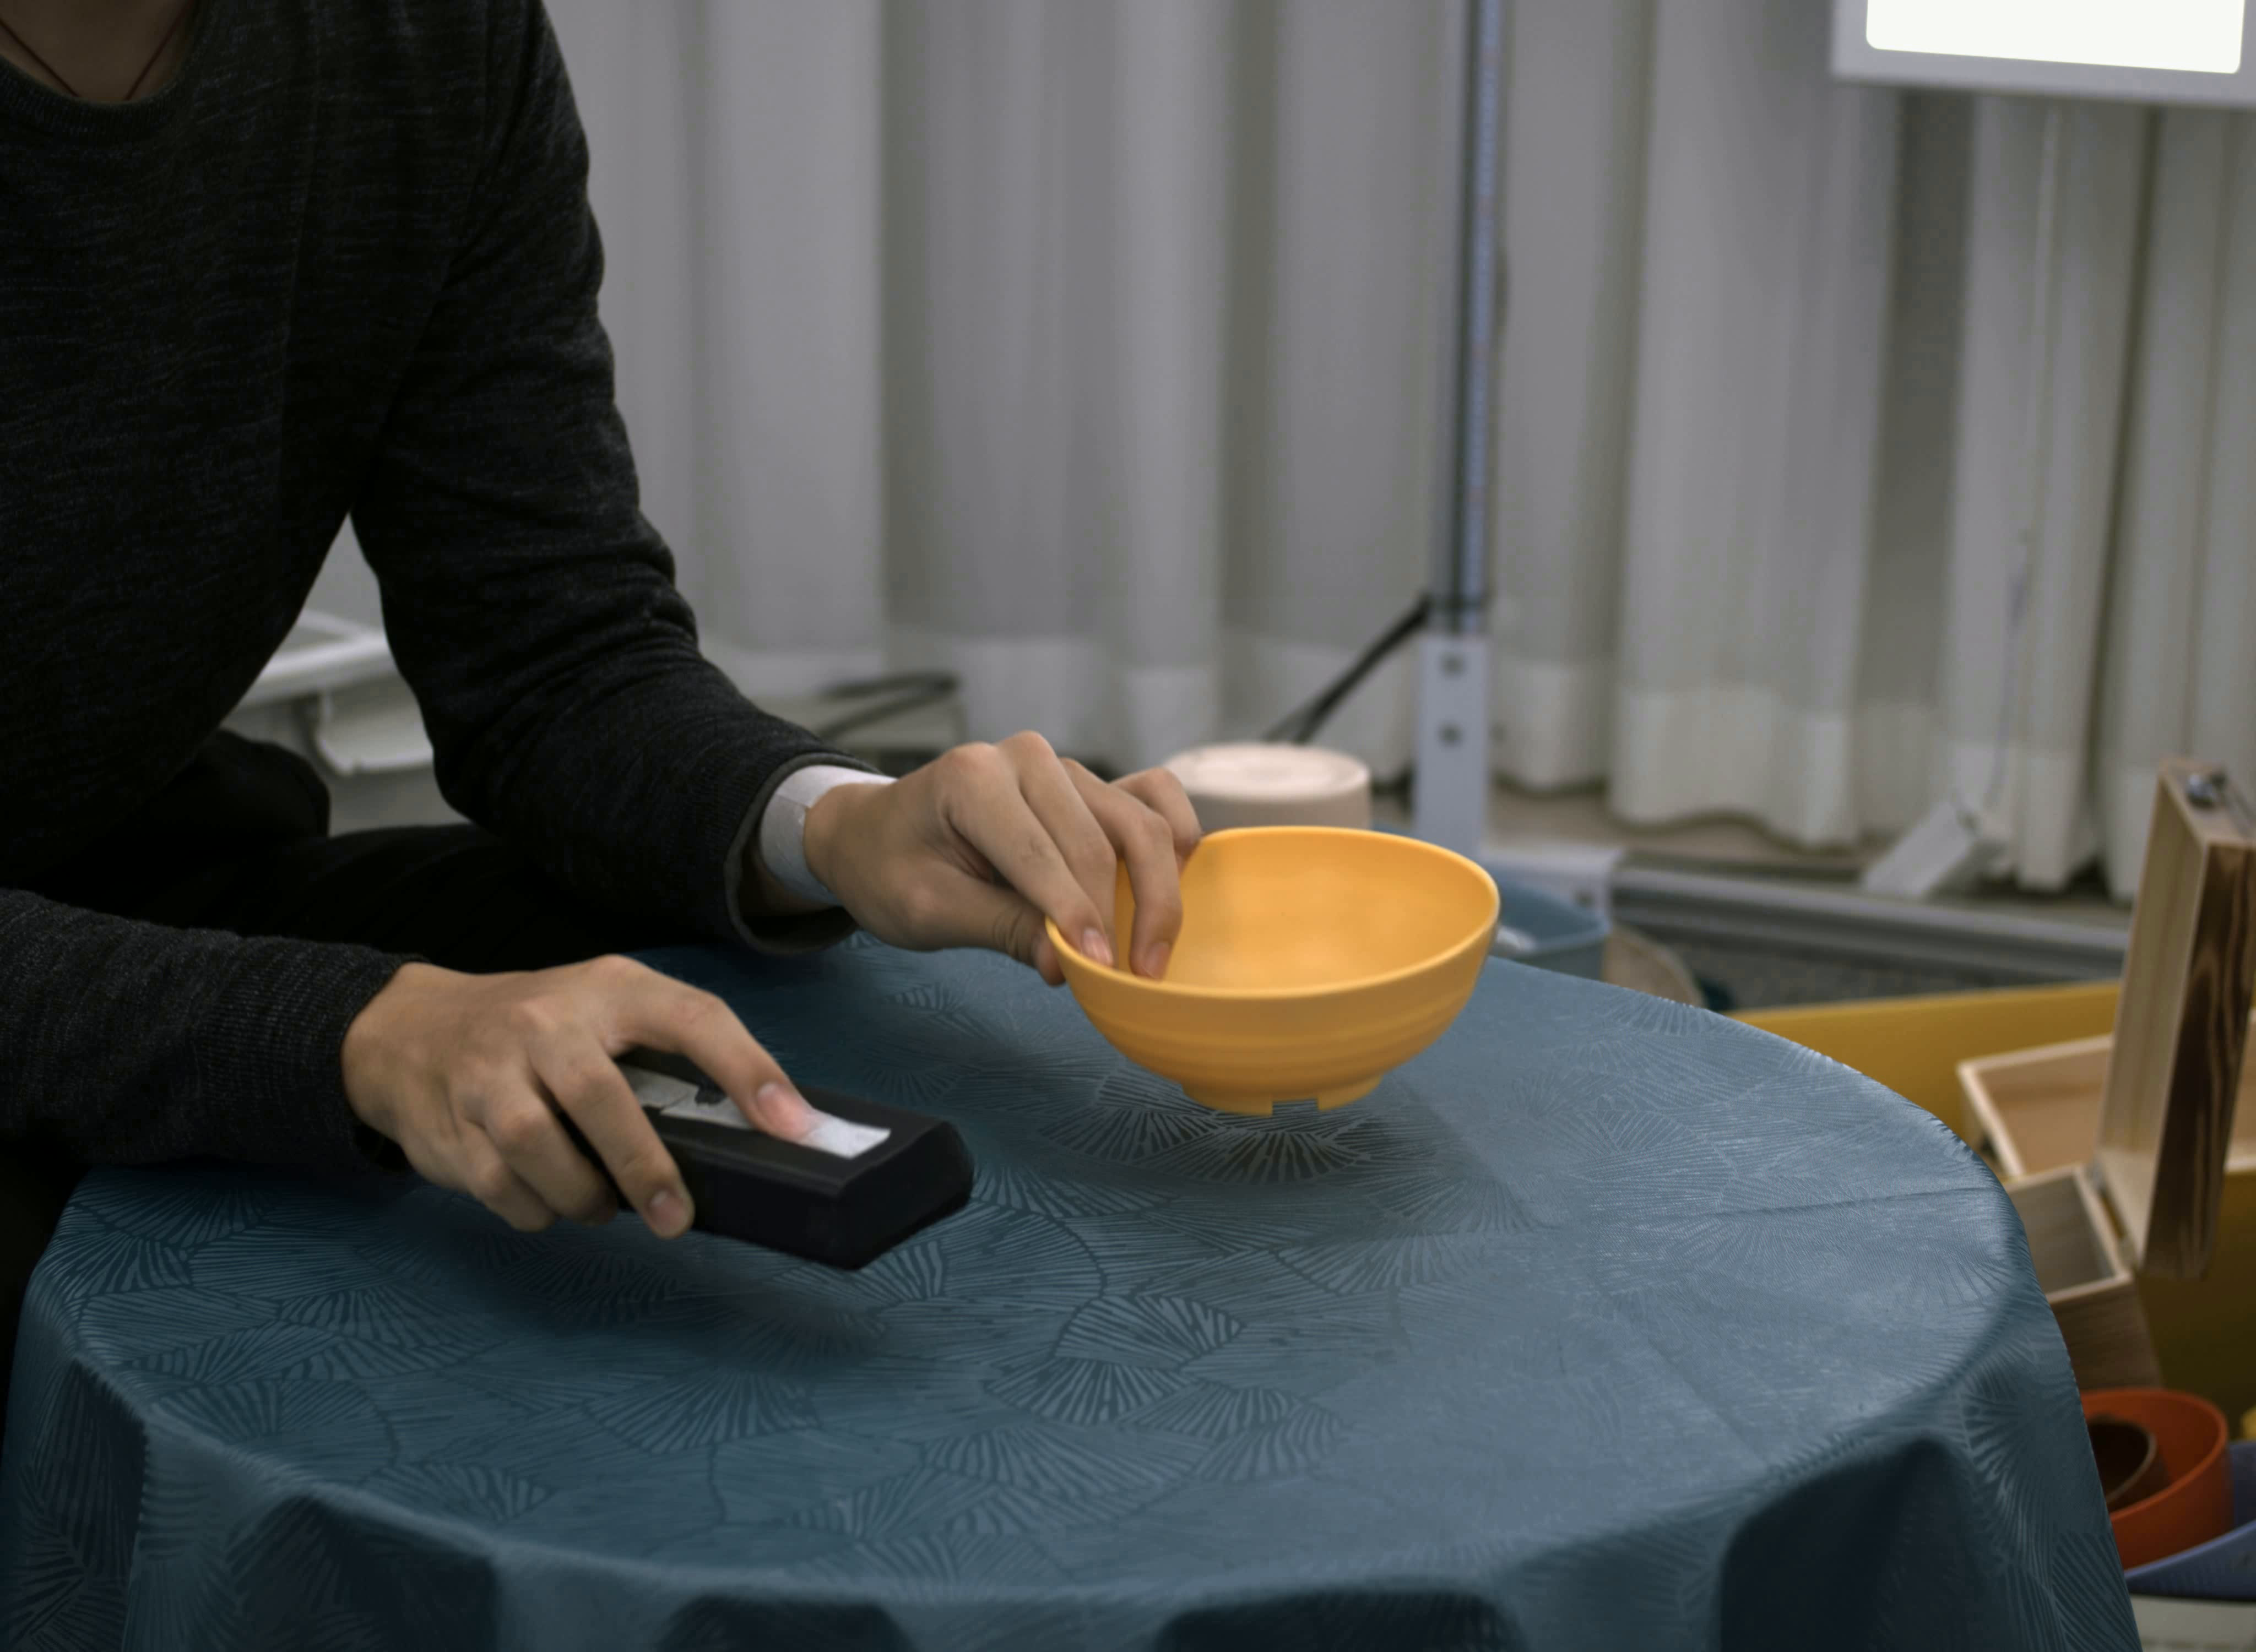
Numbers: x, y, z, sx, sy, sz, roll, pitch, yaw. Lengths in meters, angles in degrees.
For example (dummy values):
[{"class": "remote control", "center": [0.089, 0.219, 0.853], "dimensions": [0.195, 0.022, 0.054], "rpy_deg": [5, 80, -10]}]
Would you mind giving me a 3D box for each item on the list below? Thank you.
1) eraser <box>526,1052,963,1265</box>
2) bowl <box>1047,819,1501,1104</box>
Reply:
[{"class": "eraser", "center": [-0.109, 0.094, 1.505], "dimensions": [0.124, 0.031, 0.053], "rpy_deg": [10, 25, 36]}, {"class": "bowl", "center": [0.046, 0.048, 1.664], "dimensions": [0.145, 0.060, 0.144], "rpy_deg": [0, 21, 1]}]
